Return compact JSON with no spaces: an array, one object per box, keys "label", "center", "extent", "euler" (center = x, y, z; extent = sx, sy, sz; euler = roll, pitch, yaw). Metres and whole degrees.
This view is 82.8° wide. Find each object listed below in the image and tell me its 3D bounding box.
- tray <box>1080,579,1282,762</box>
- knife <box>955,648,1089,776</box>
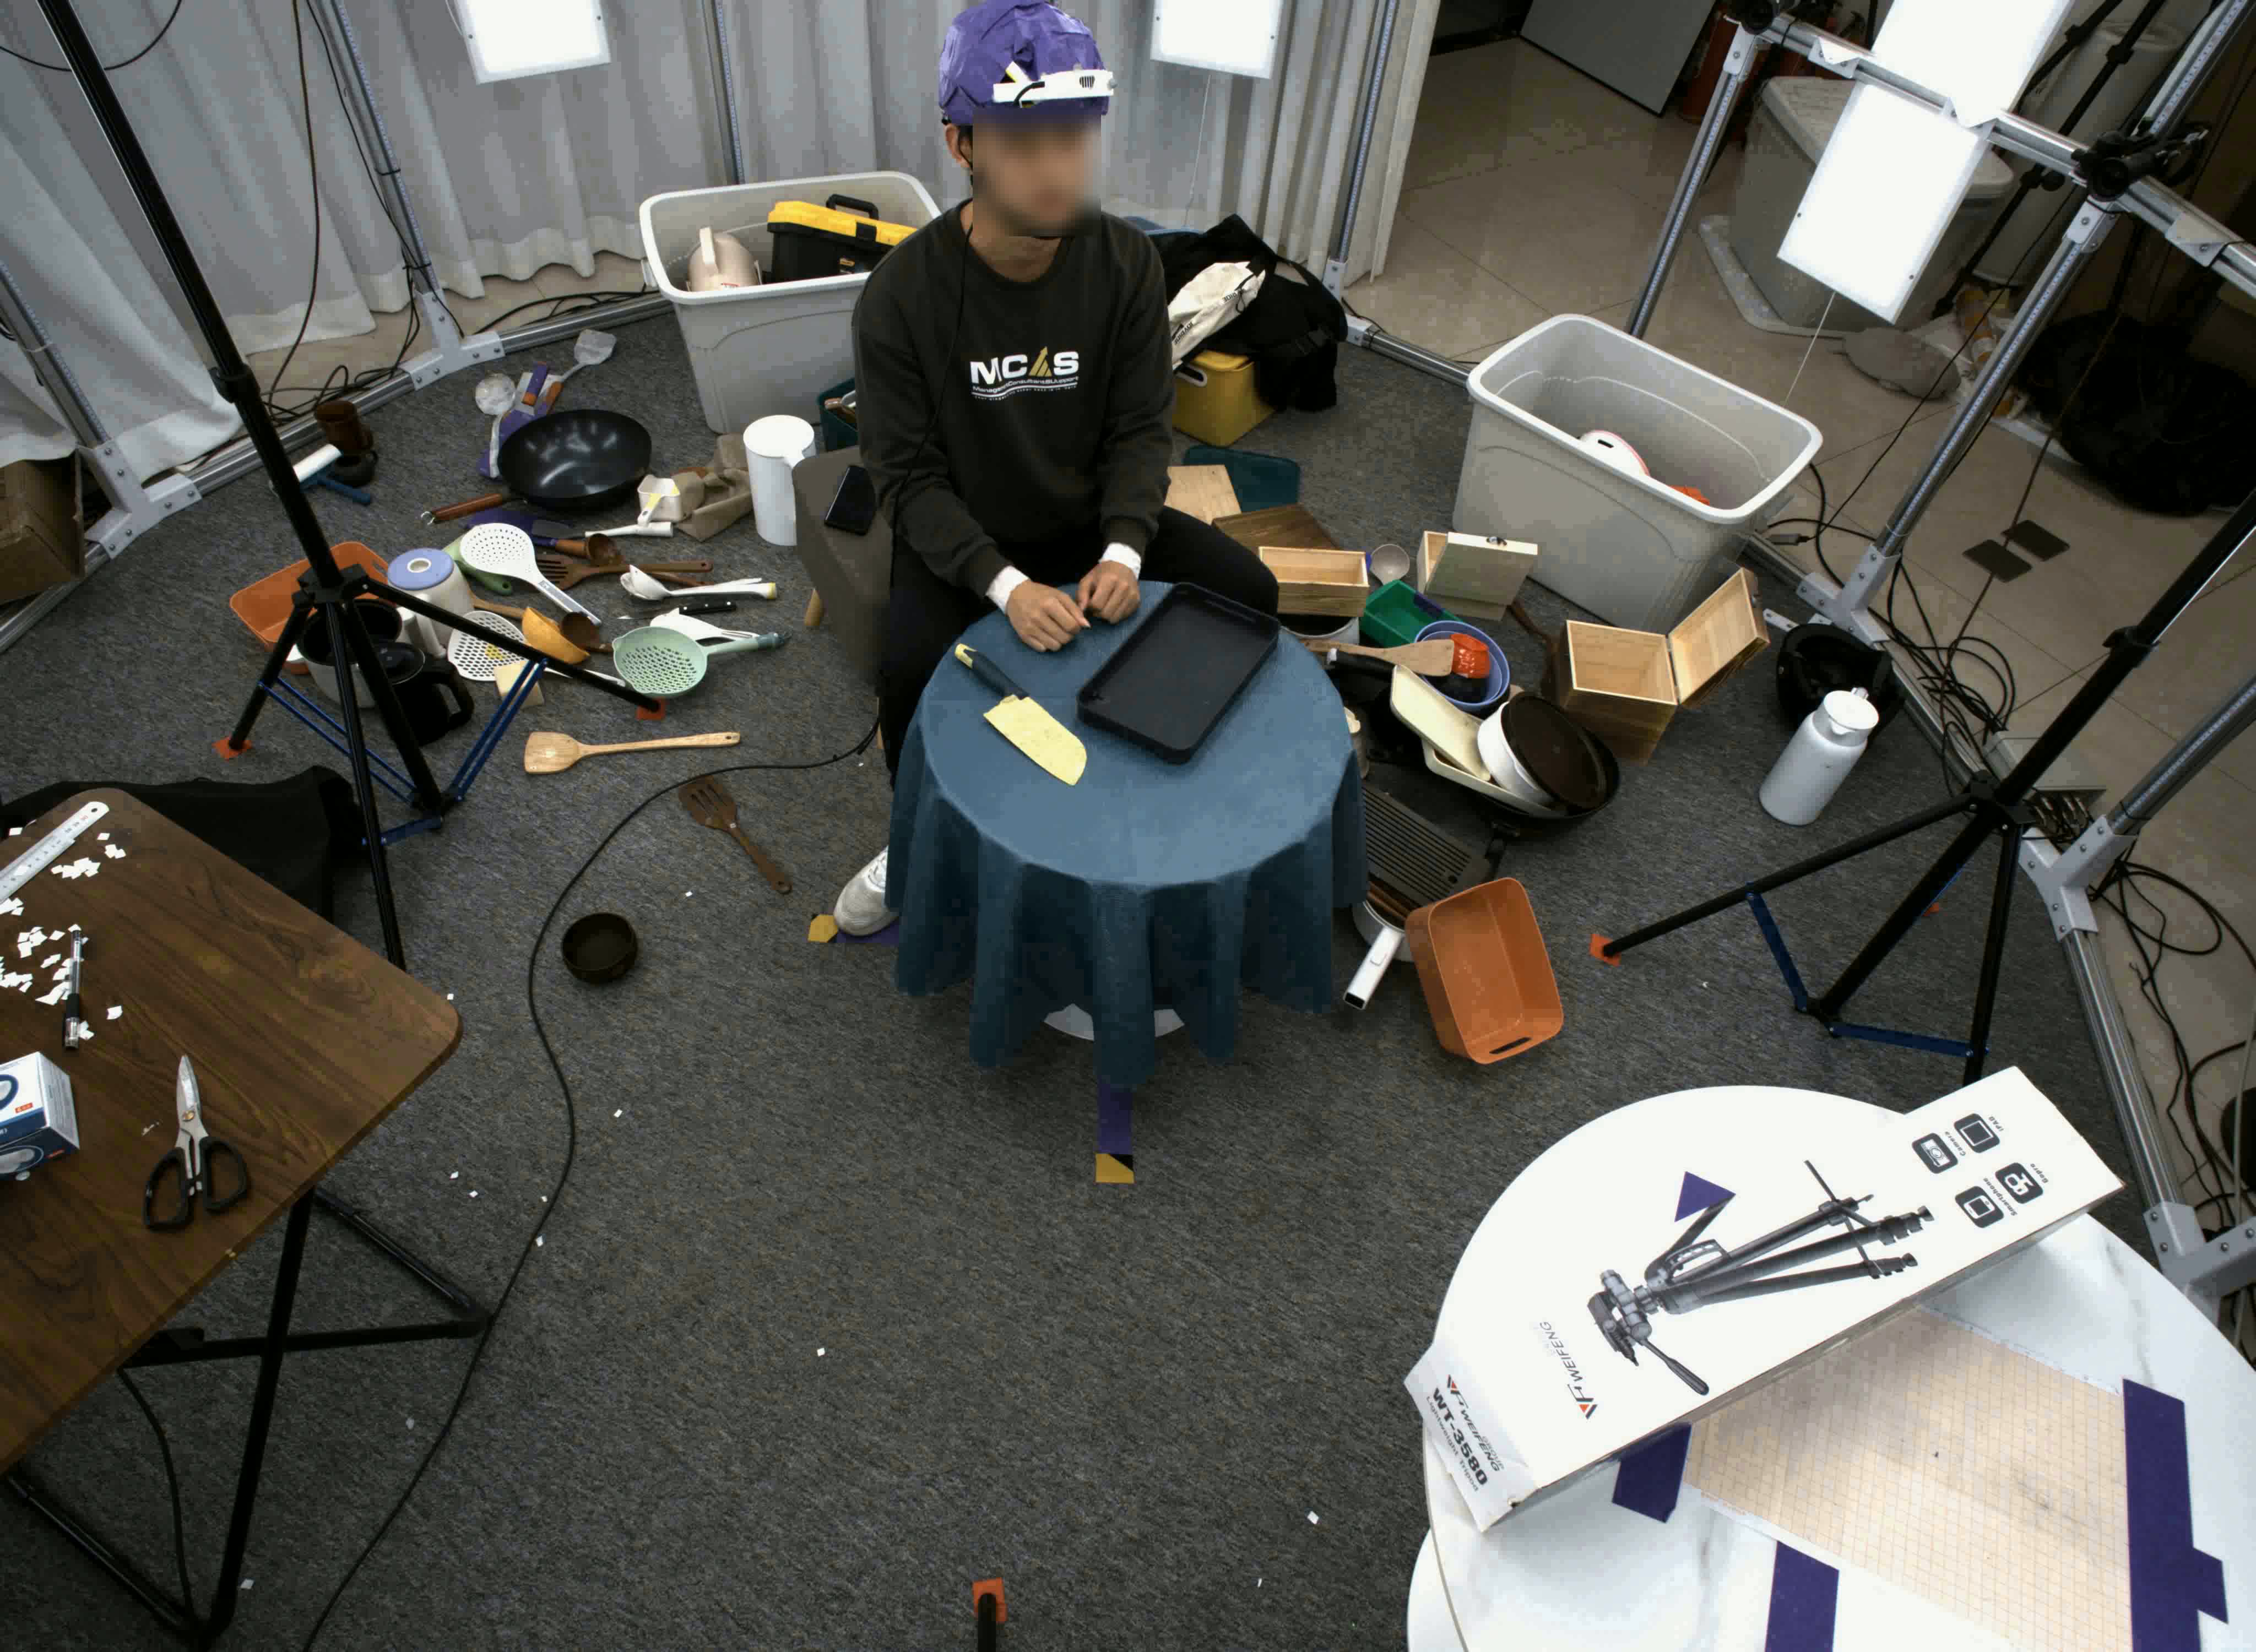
[{"label":"tray","center":[0.080,-0.231,1.850],"extent":[0.185,0.036,0.323],"euler":[23,52,17]},{"label":"knife","center":[-0.157,-0.157,1.784],"extent":[0.081,0.026,0.294],"euler":[-30,58,-28]}]
